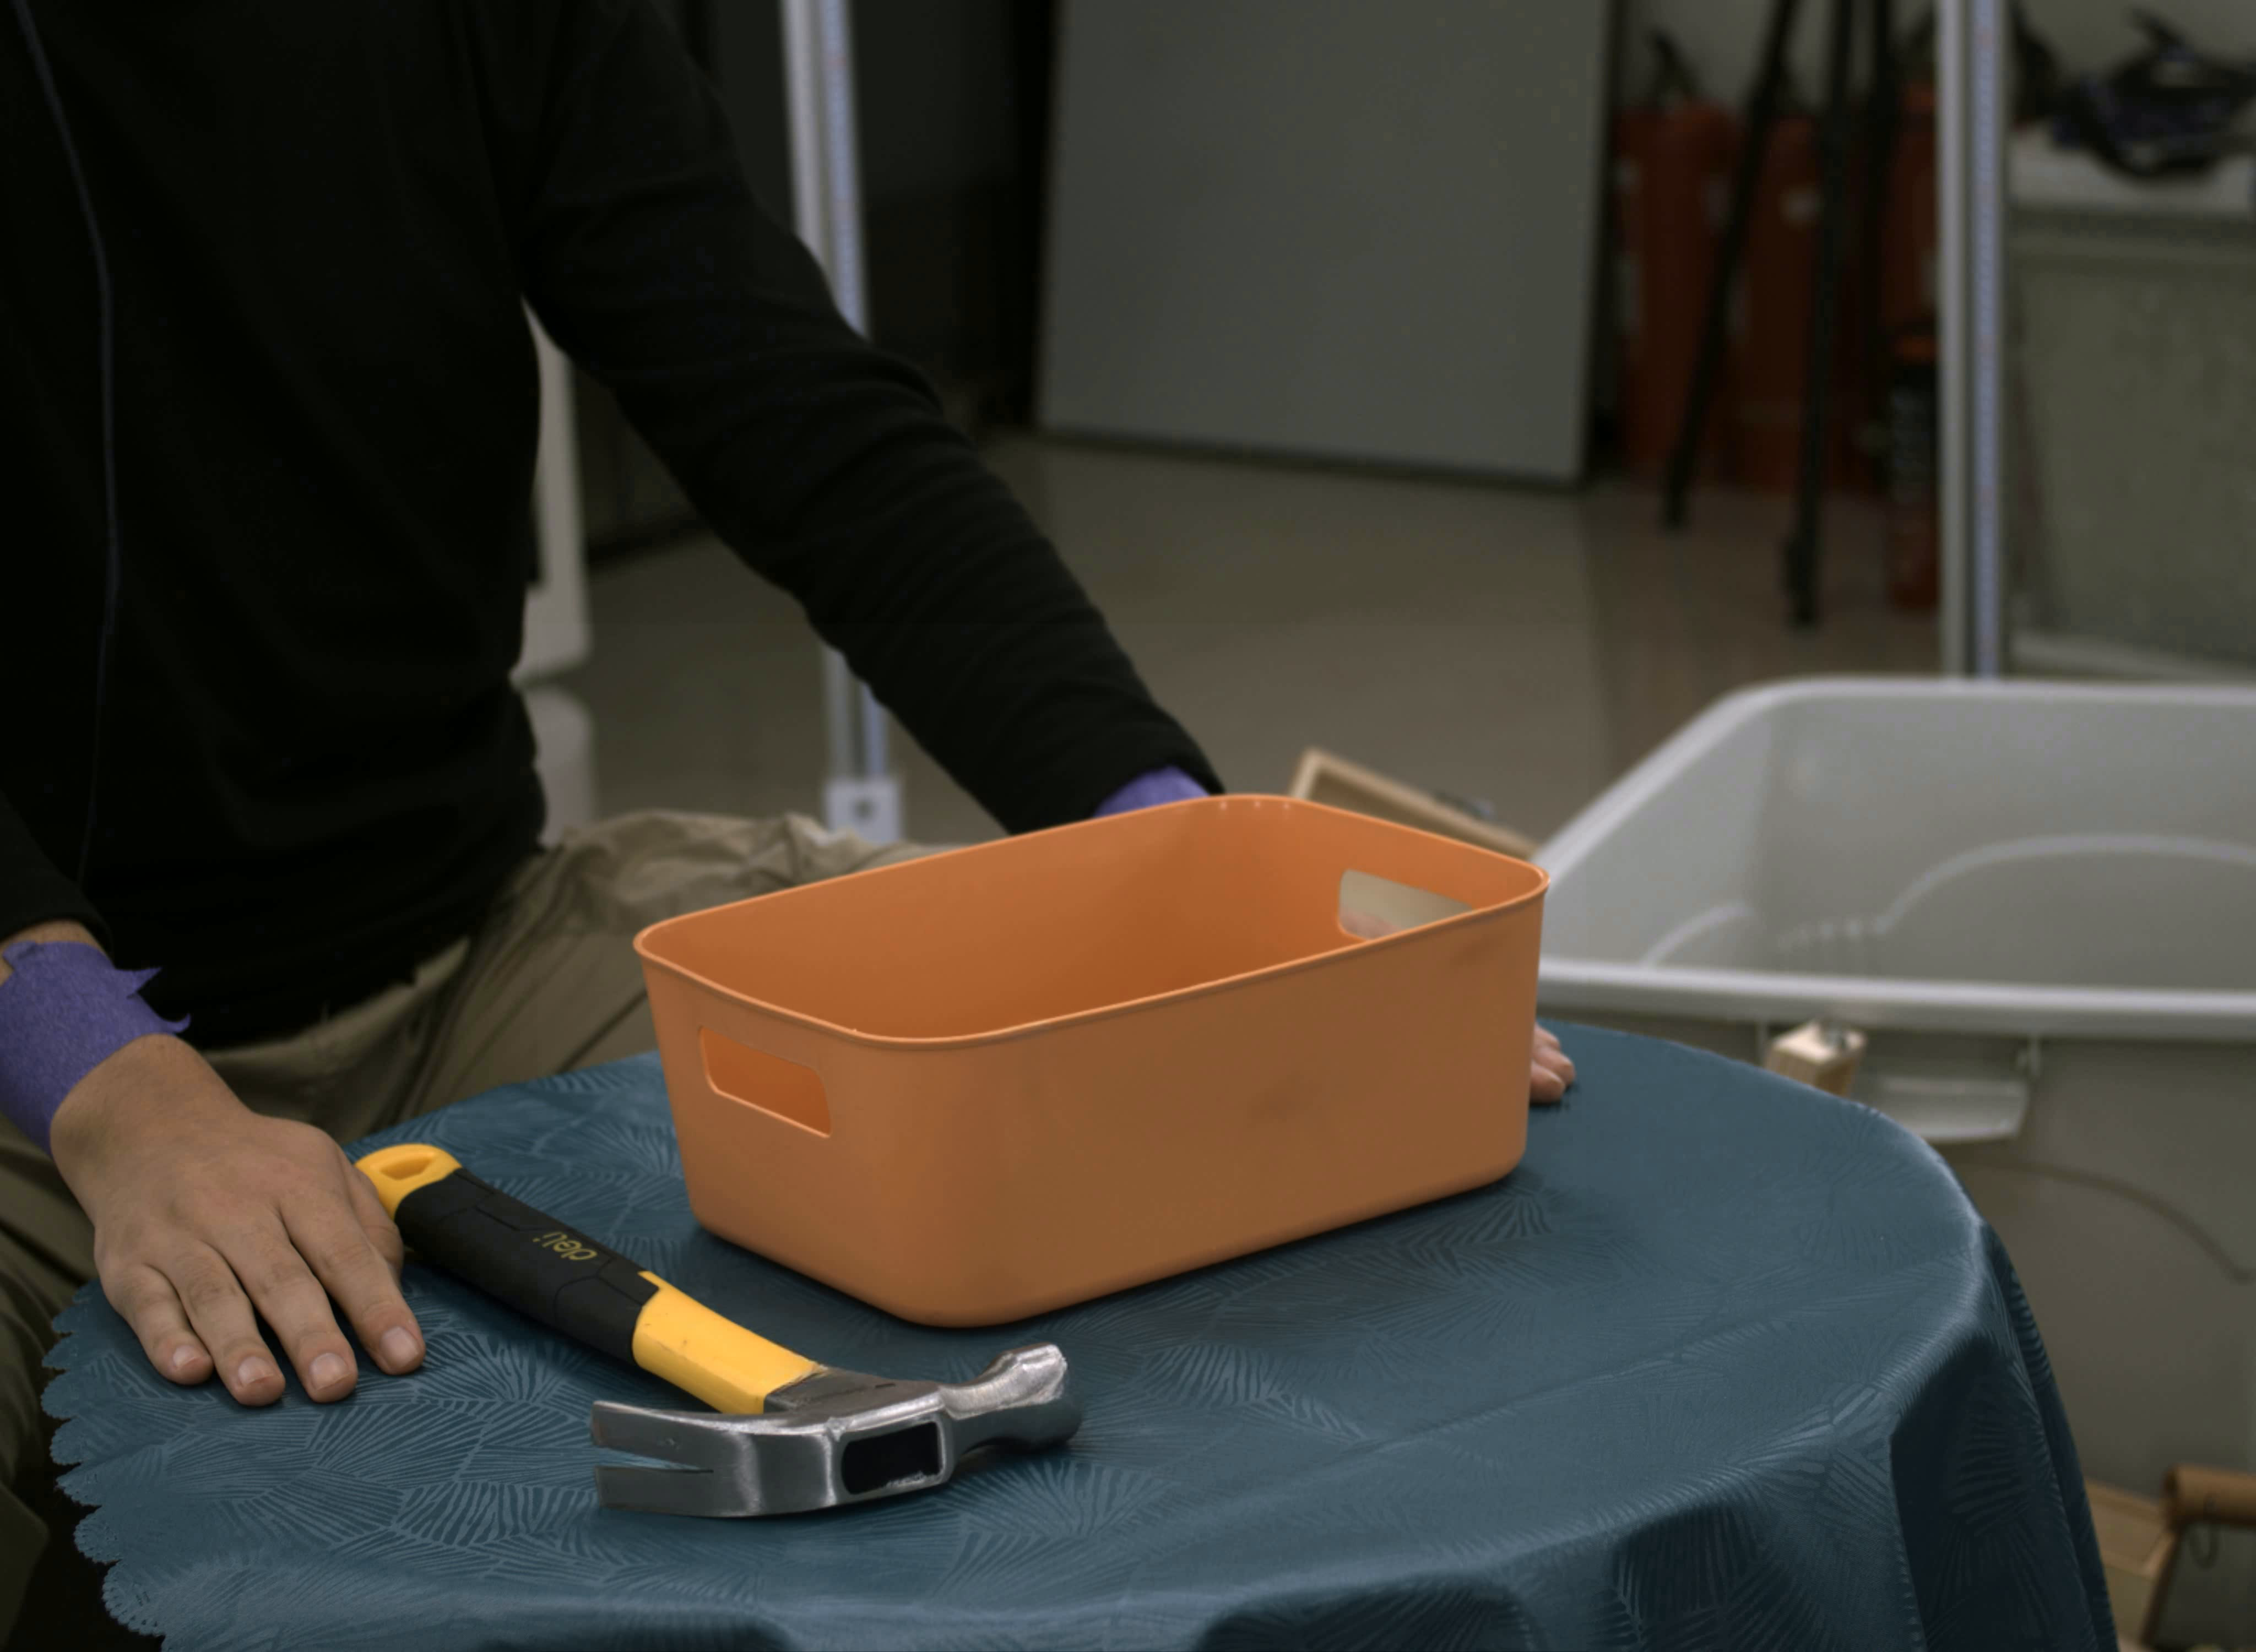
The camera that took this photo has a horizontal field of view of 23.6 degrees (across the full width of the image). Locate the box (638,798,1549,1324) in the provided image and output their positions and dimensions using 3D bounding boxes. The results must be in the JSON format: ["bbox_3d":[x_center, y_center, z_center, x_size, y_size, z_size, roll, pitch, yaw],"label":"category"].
[{"bbox_3d":[-0.009,0.073,1.754,0.267,0.104,0.201,-13,16,-33],"label":"box"}]

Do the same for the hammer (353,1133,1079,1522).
[{"bbox_3d":[-0.154,0.145,1.649,0.128,0.032,0.342,-12,17,-29],"label":"hammer"}]
